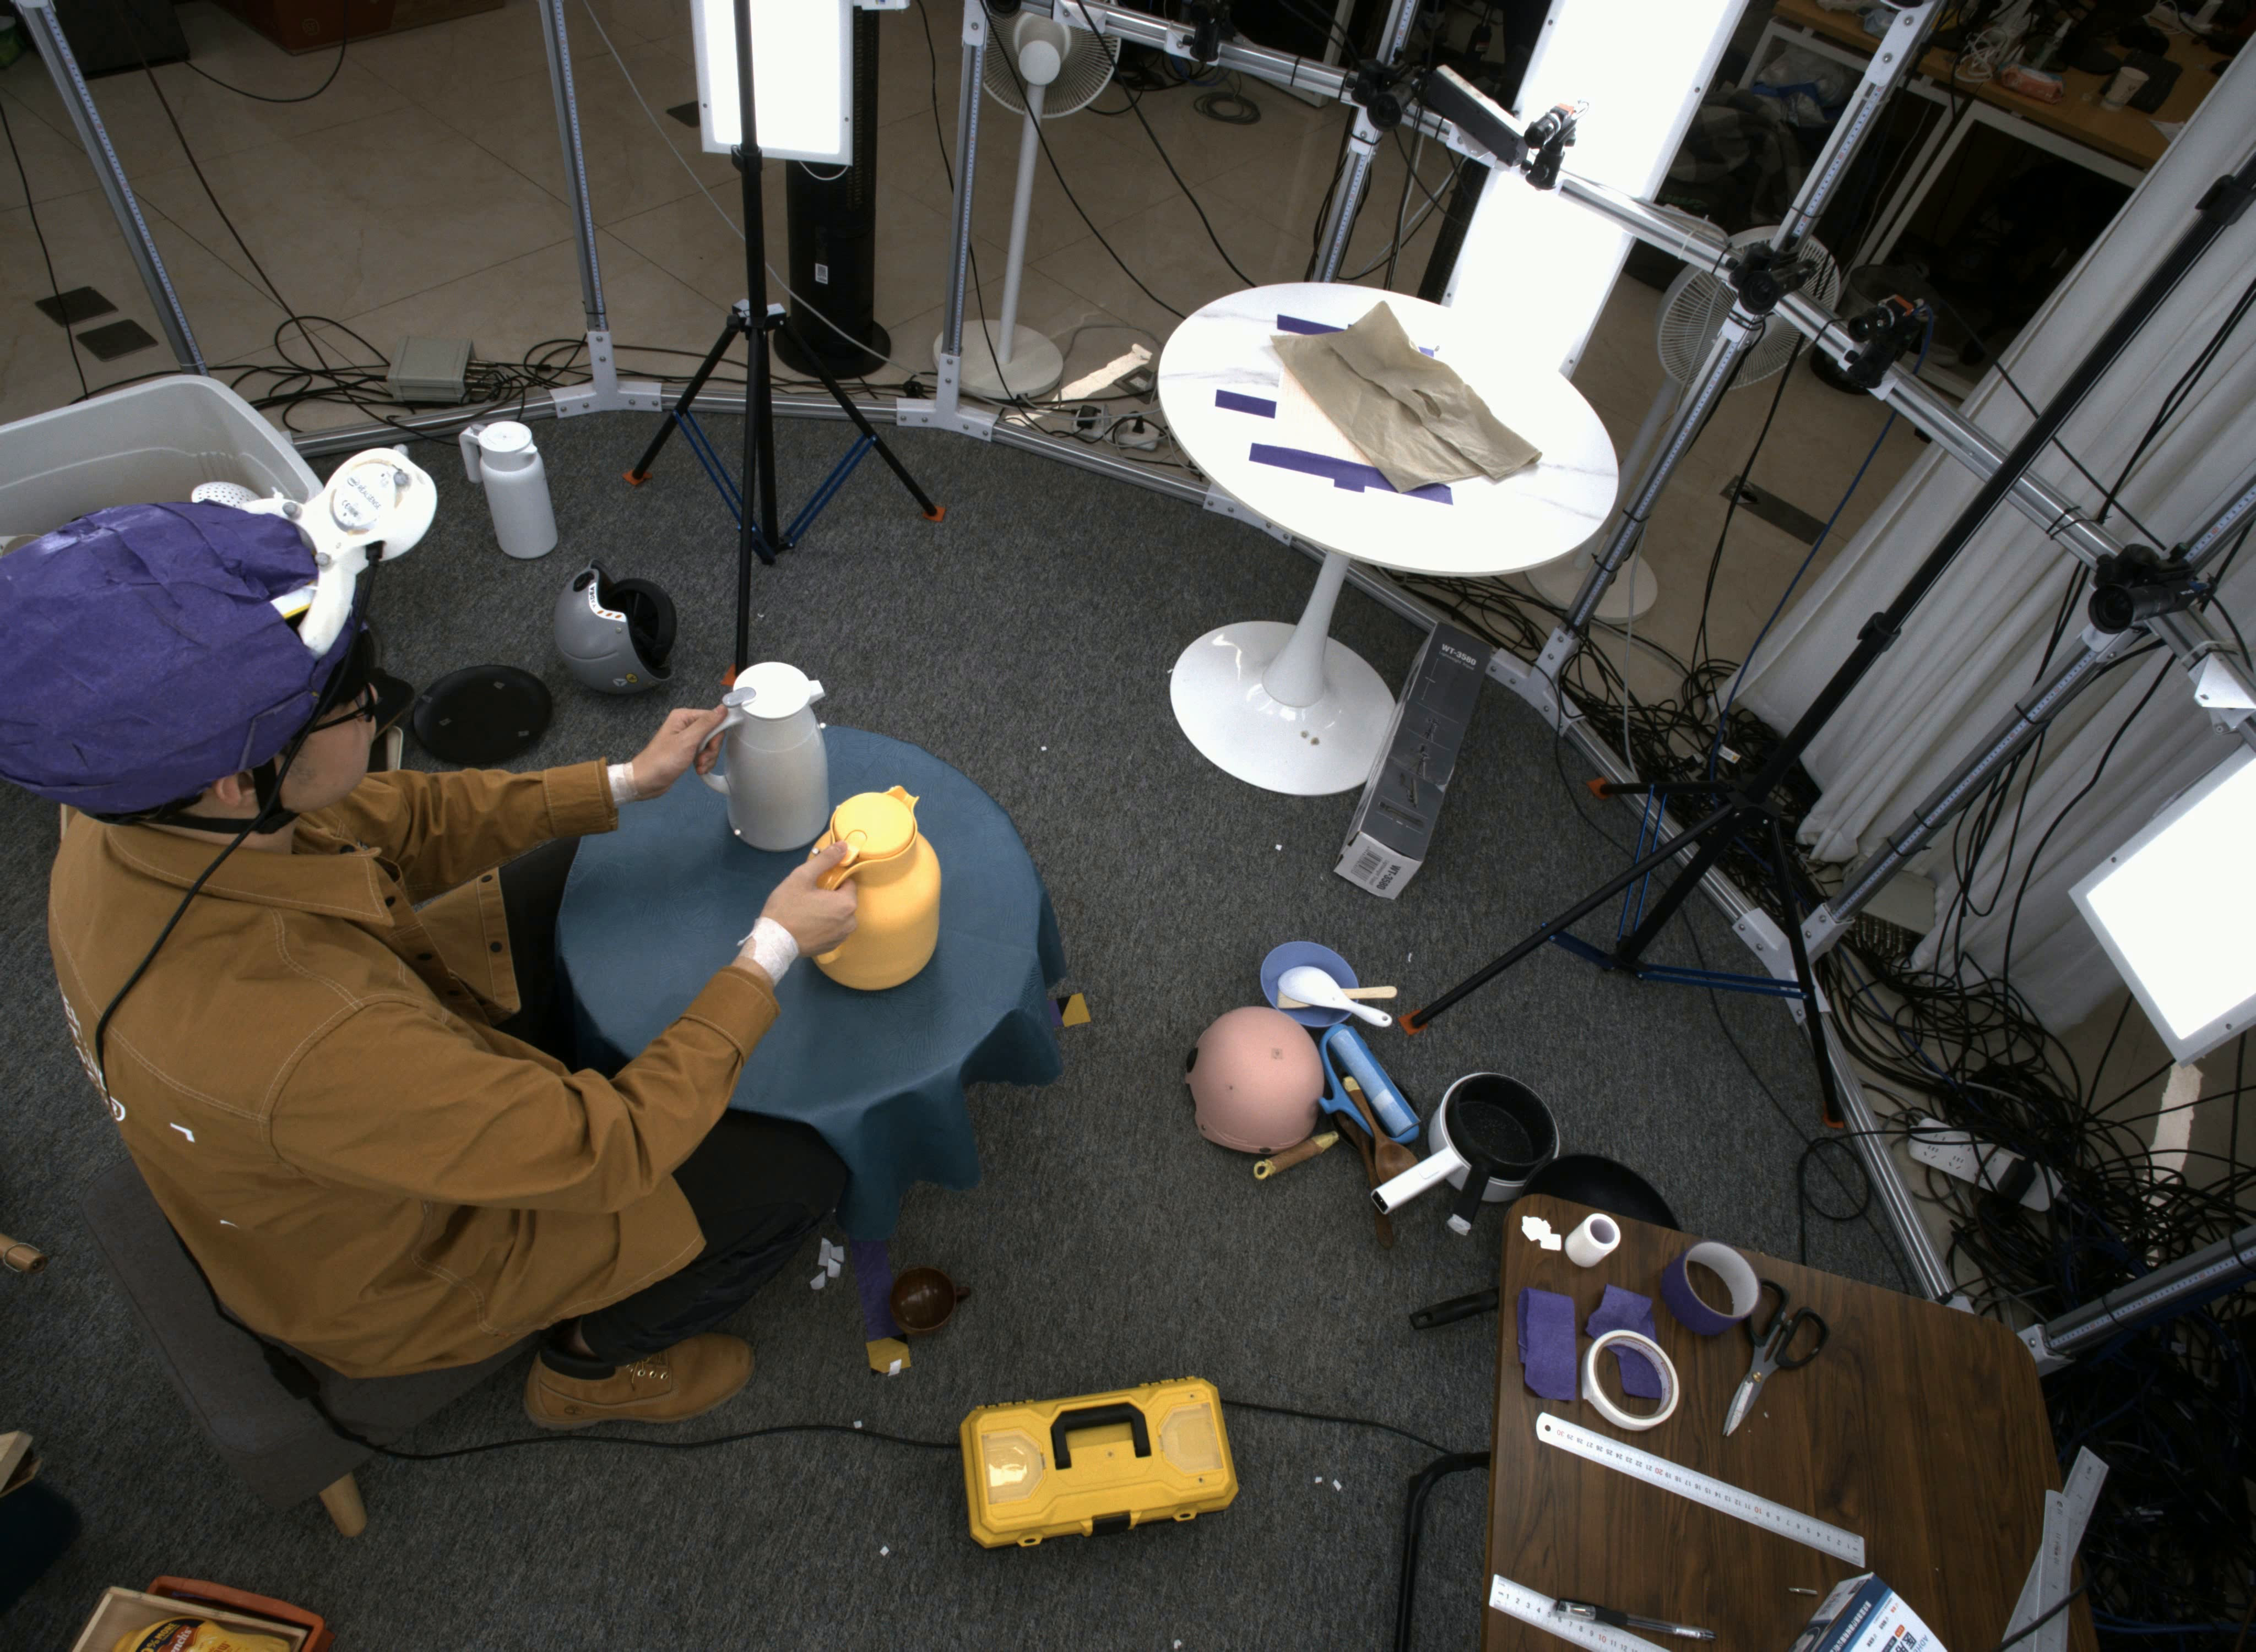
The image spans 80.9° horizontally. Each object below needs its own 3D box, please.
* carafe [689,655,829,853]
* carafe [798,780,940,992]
[{"bbox_3d":[-0.462,-0.090,1.617,0.168,0.254,0.129,-19,58,-24],"label":"carafe"},{"bbox_3d":[-0.313,0.078,1.524,0.160,0.266,0.202,29,51,13],"label":"carafe"}]
